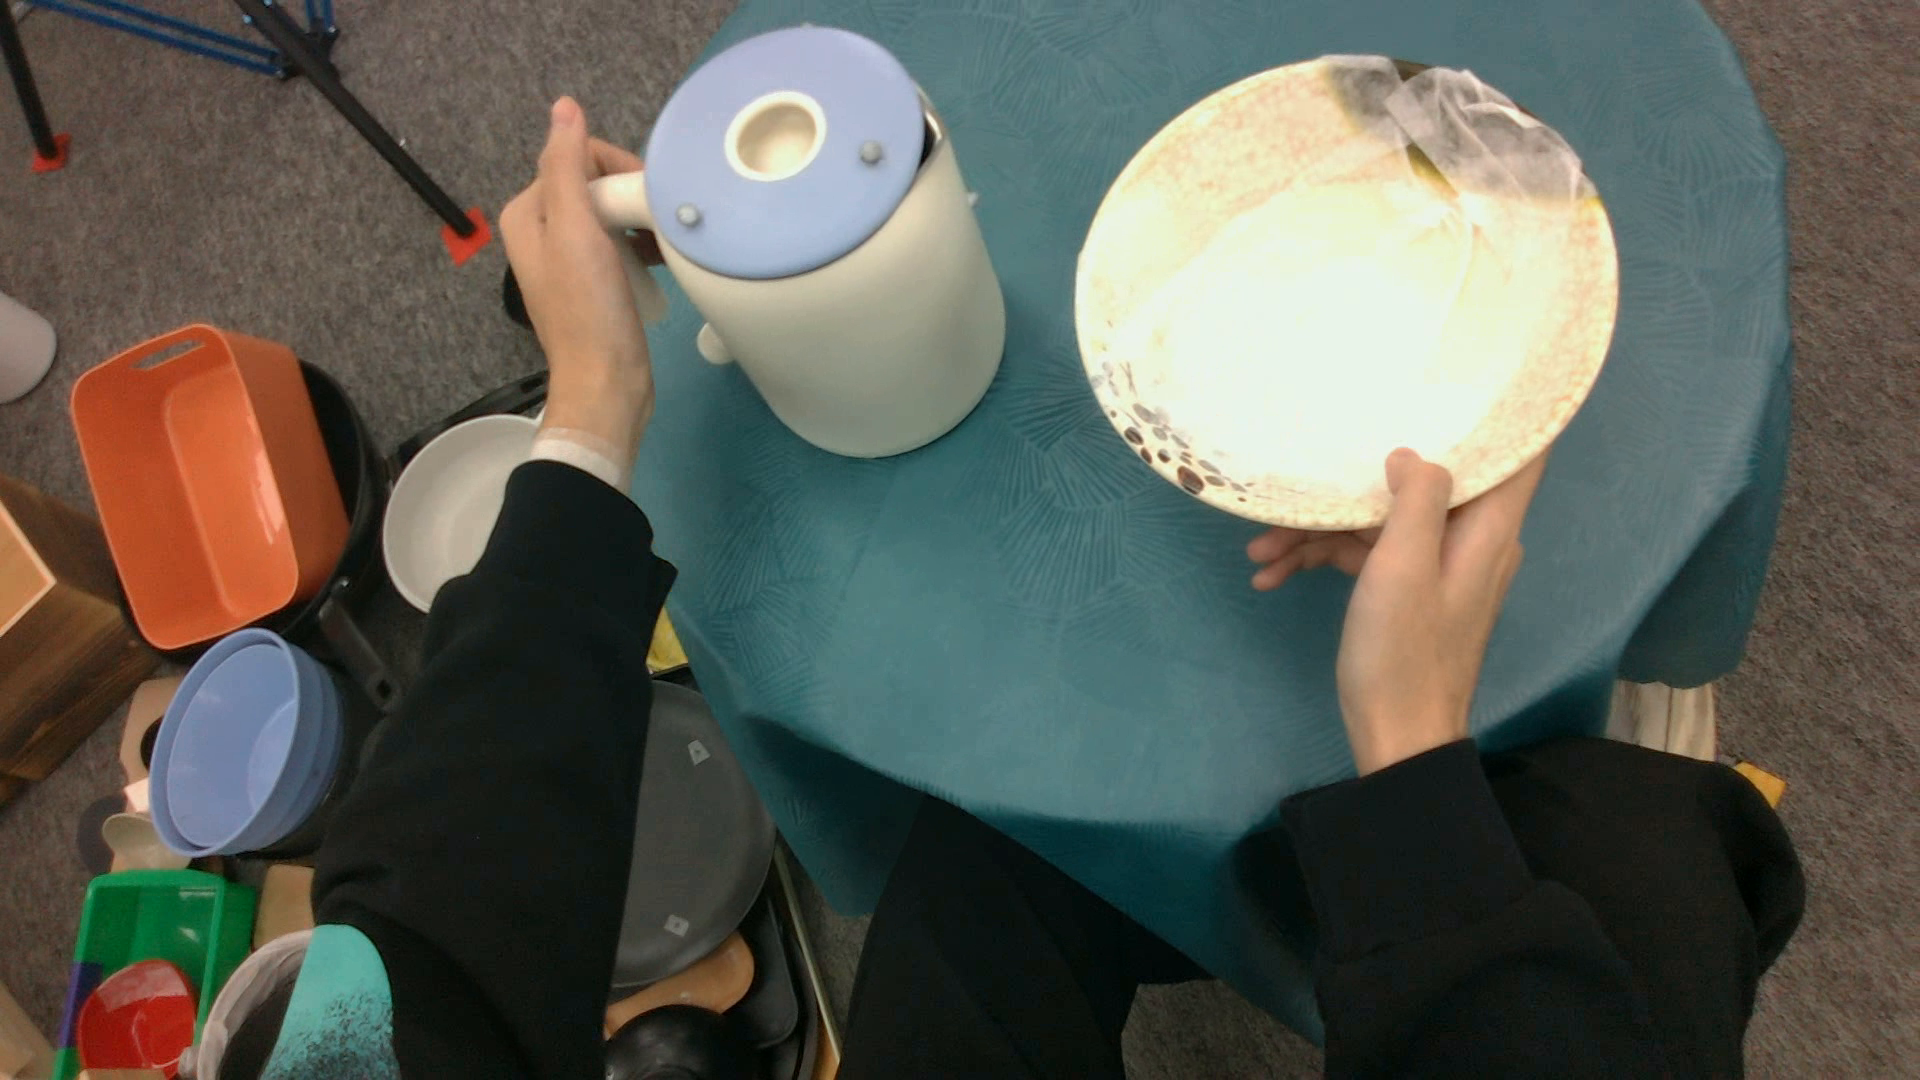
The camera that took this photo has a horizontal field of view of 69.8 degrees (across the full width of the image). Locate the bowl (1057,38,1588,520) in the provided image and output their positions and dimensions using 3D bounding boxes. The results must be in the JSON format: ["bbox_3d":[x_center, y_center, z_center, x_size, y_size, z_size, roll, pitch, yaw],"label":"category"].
[{"bbox_3d":[0.147,-0.099,0.578,0.204,0.078,0.204,-3,76,12],"label":"bowl"}]

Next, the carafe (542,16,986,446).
[{"bbox_3d":[-0.090,-0.132,0.637,0.191,0.182,0.132,-5,67,13],"label":"carafe"}]
